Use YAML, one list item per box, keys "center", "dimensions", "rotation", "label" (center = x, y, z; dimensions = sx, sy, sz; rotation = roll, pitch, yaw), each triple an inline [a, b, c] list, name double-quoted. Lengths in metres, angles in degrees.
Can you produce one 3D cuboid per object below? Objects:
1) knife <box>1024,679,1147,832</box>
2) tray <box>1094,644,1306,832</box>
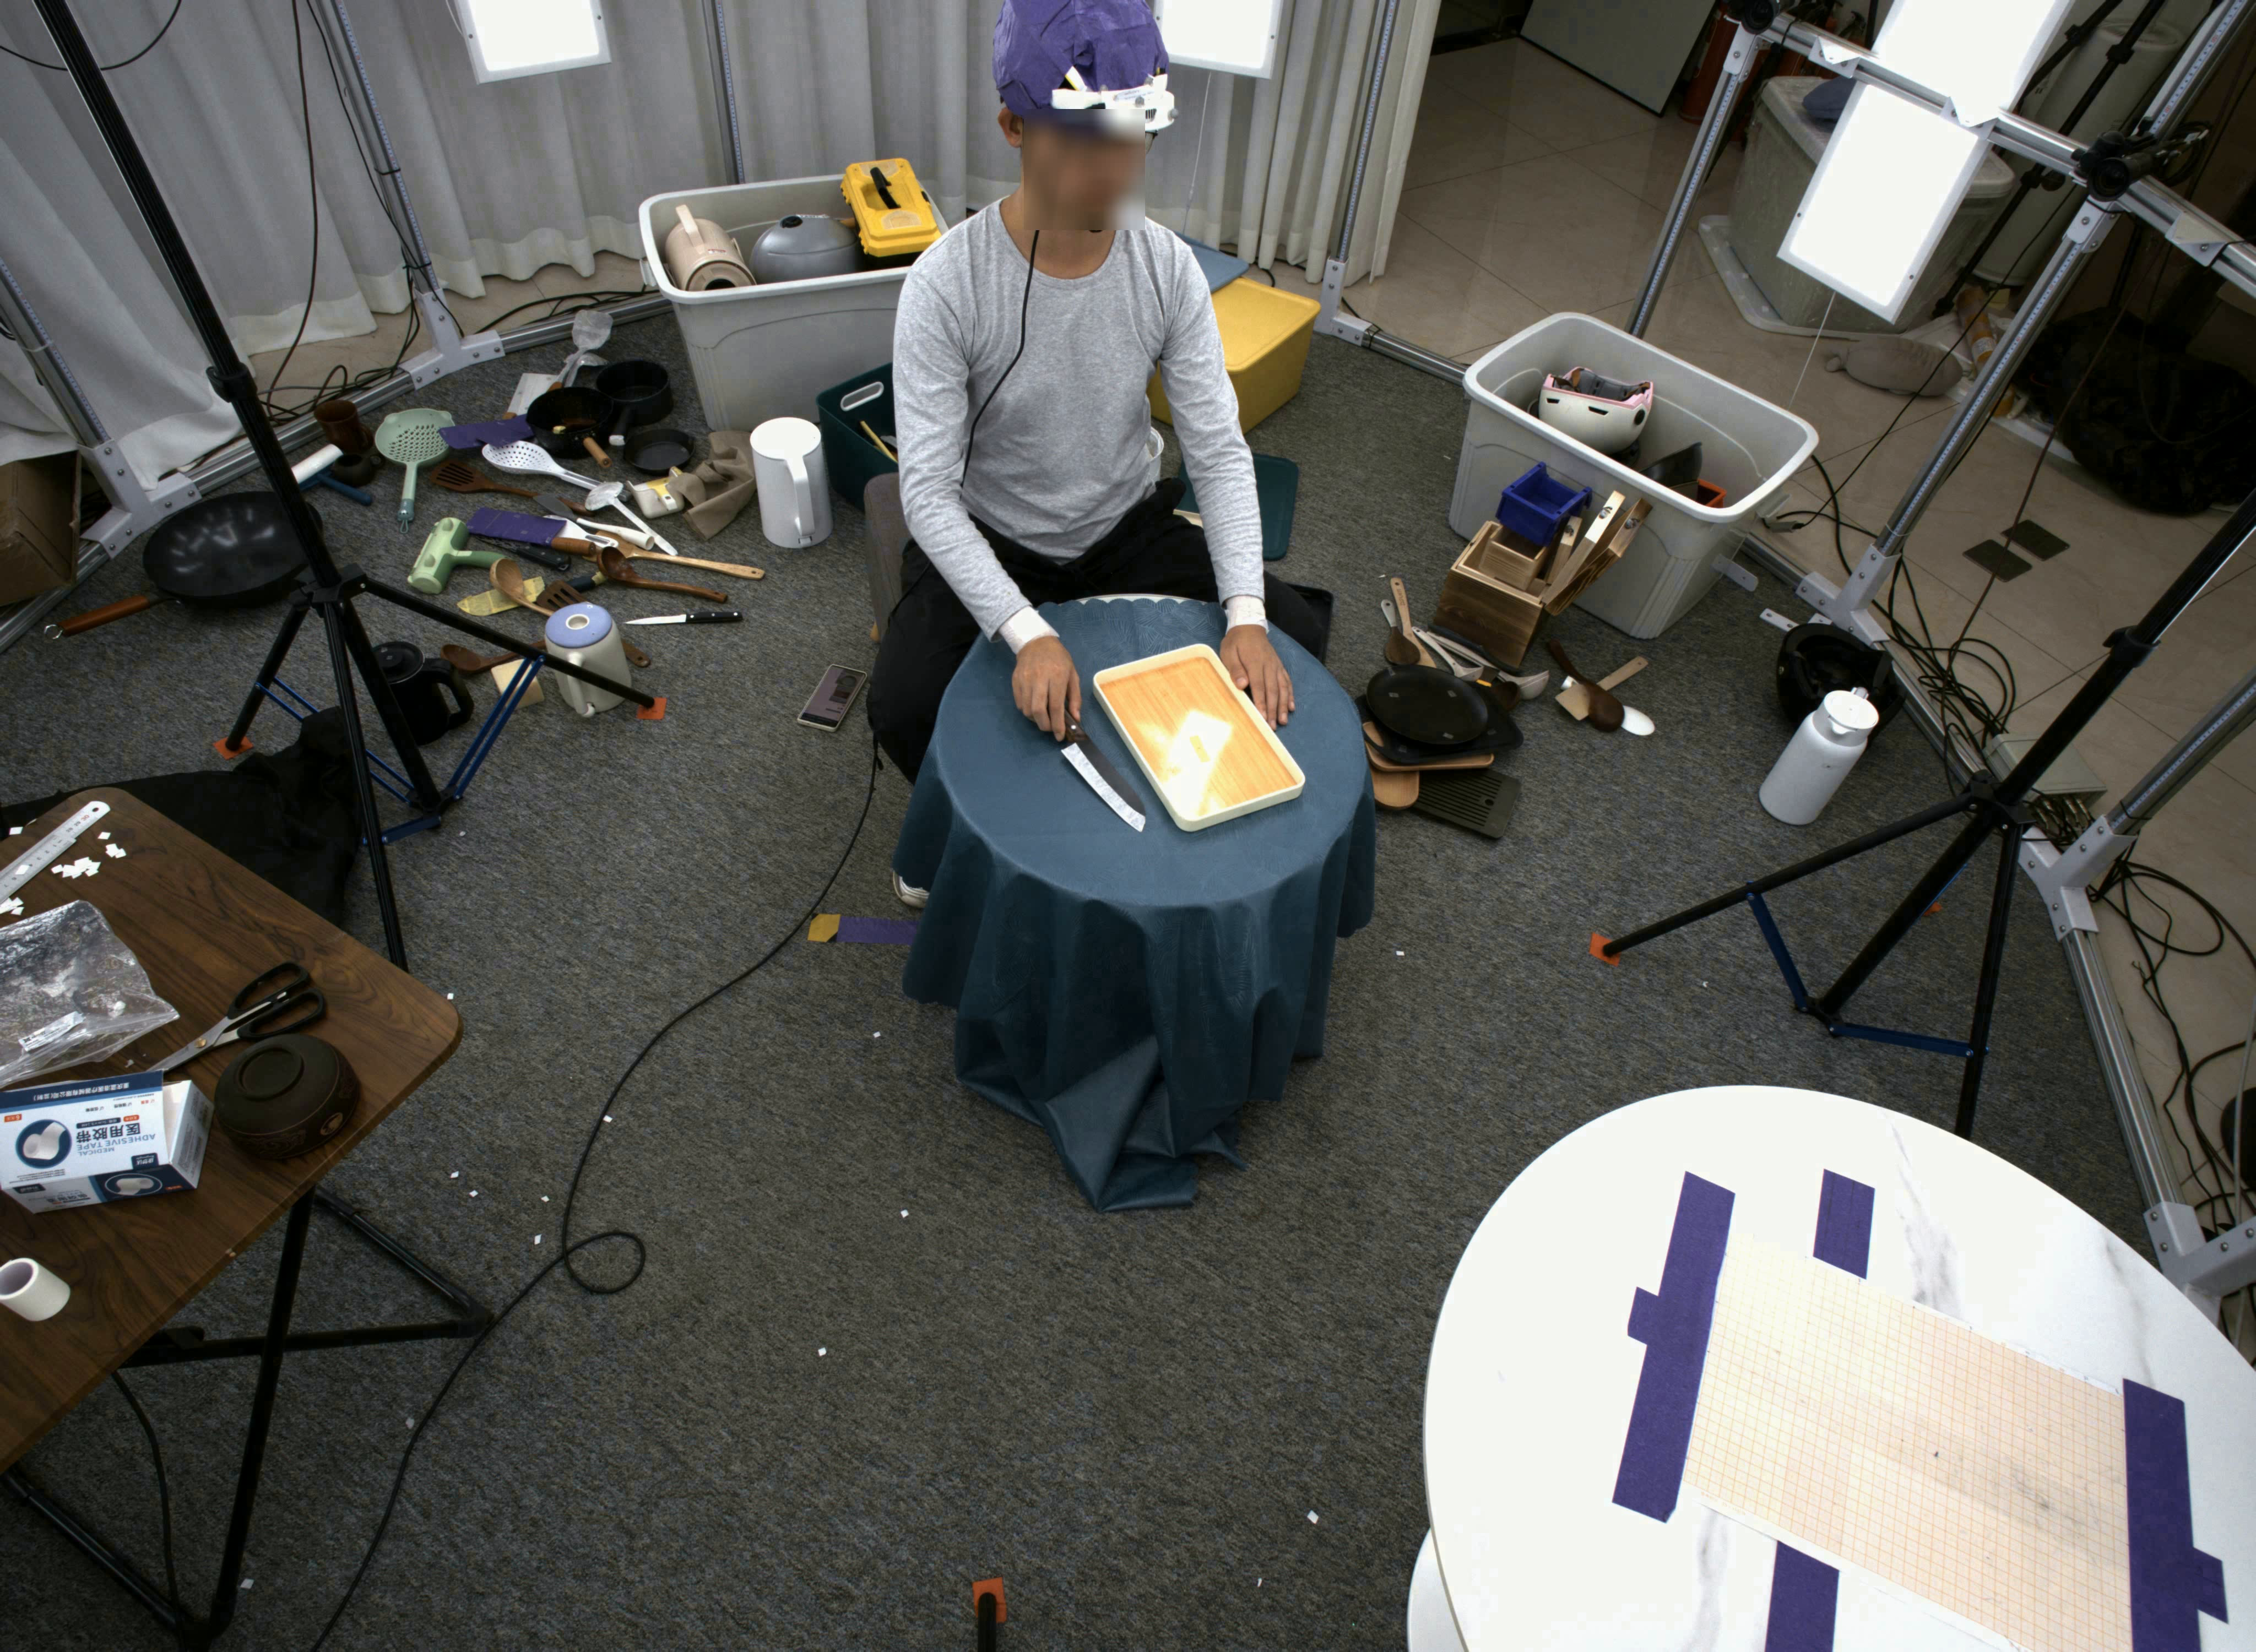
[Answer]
- center: [-0.058, -0.098, 1.729]
  dimensions: [0.050, 0.019, 0.294]
  rotation: [-29, 62, -16]
  label: "knife"
- center: [0.094, -0.128, 1.768]
  dimensions: [0.192, 0.027, 0.307]
  rotation: [-17, 52, -18]
  label: "tray"
